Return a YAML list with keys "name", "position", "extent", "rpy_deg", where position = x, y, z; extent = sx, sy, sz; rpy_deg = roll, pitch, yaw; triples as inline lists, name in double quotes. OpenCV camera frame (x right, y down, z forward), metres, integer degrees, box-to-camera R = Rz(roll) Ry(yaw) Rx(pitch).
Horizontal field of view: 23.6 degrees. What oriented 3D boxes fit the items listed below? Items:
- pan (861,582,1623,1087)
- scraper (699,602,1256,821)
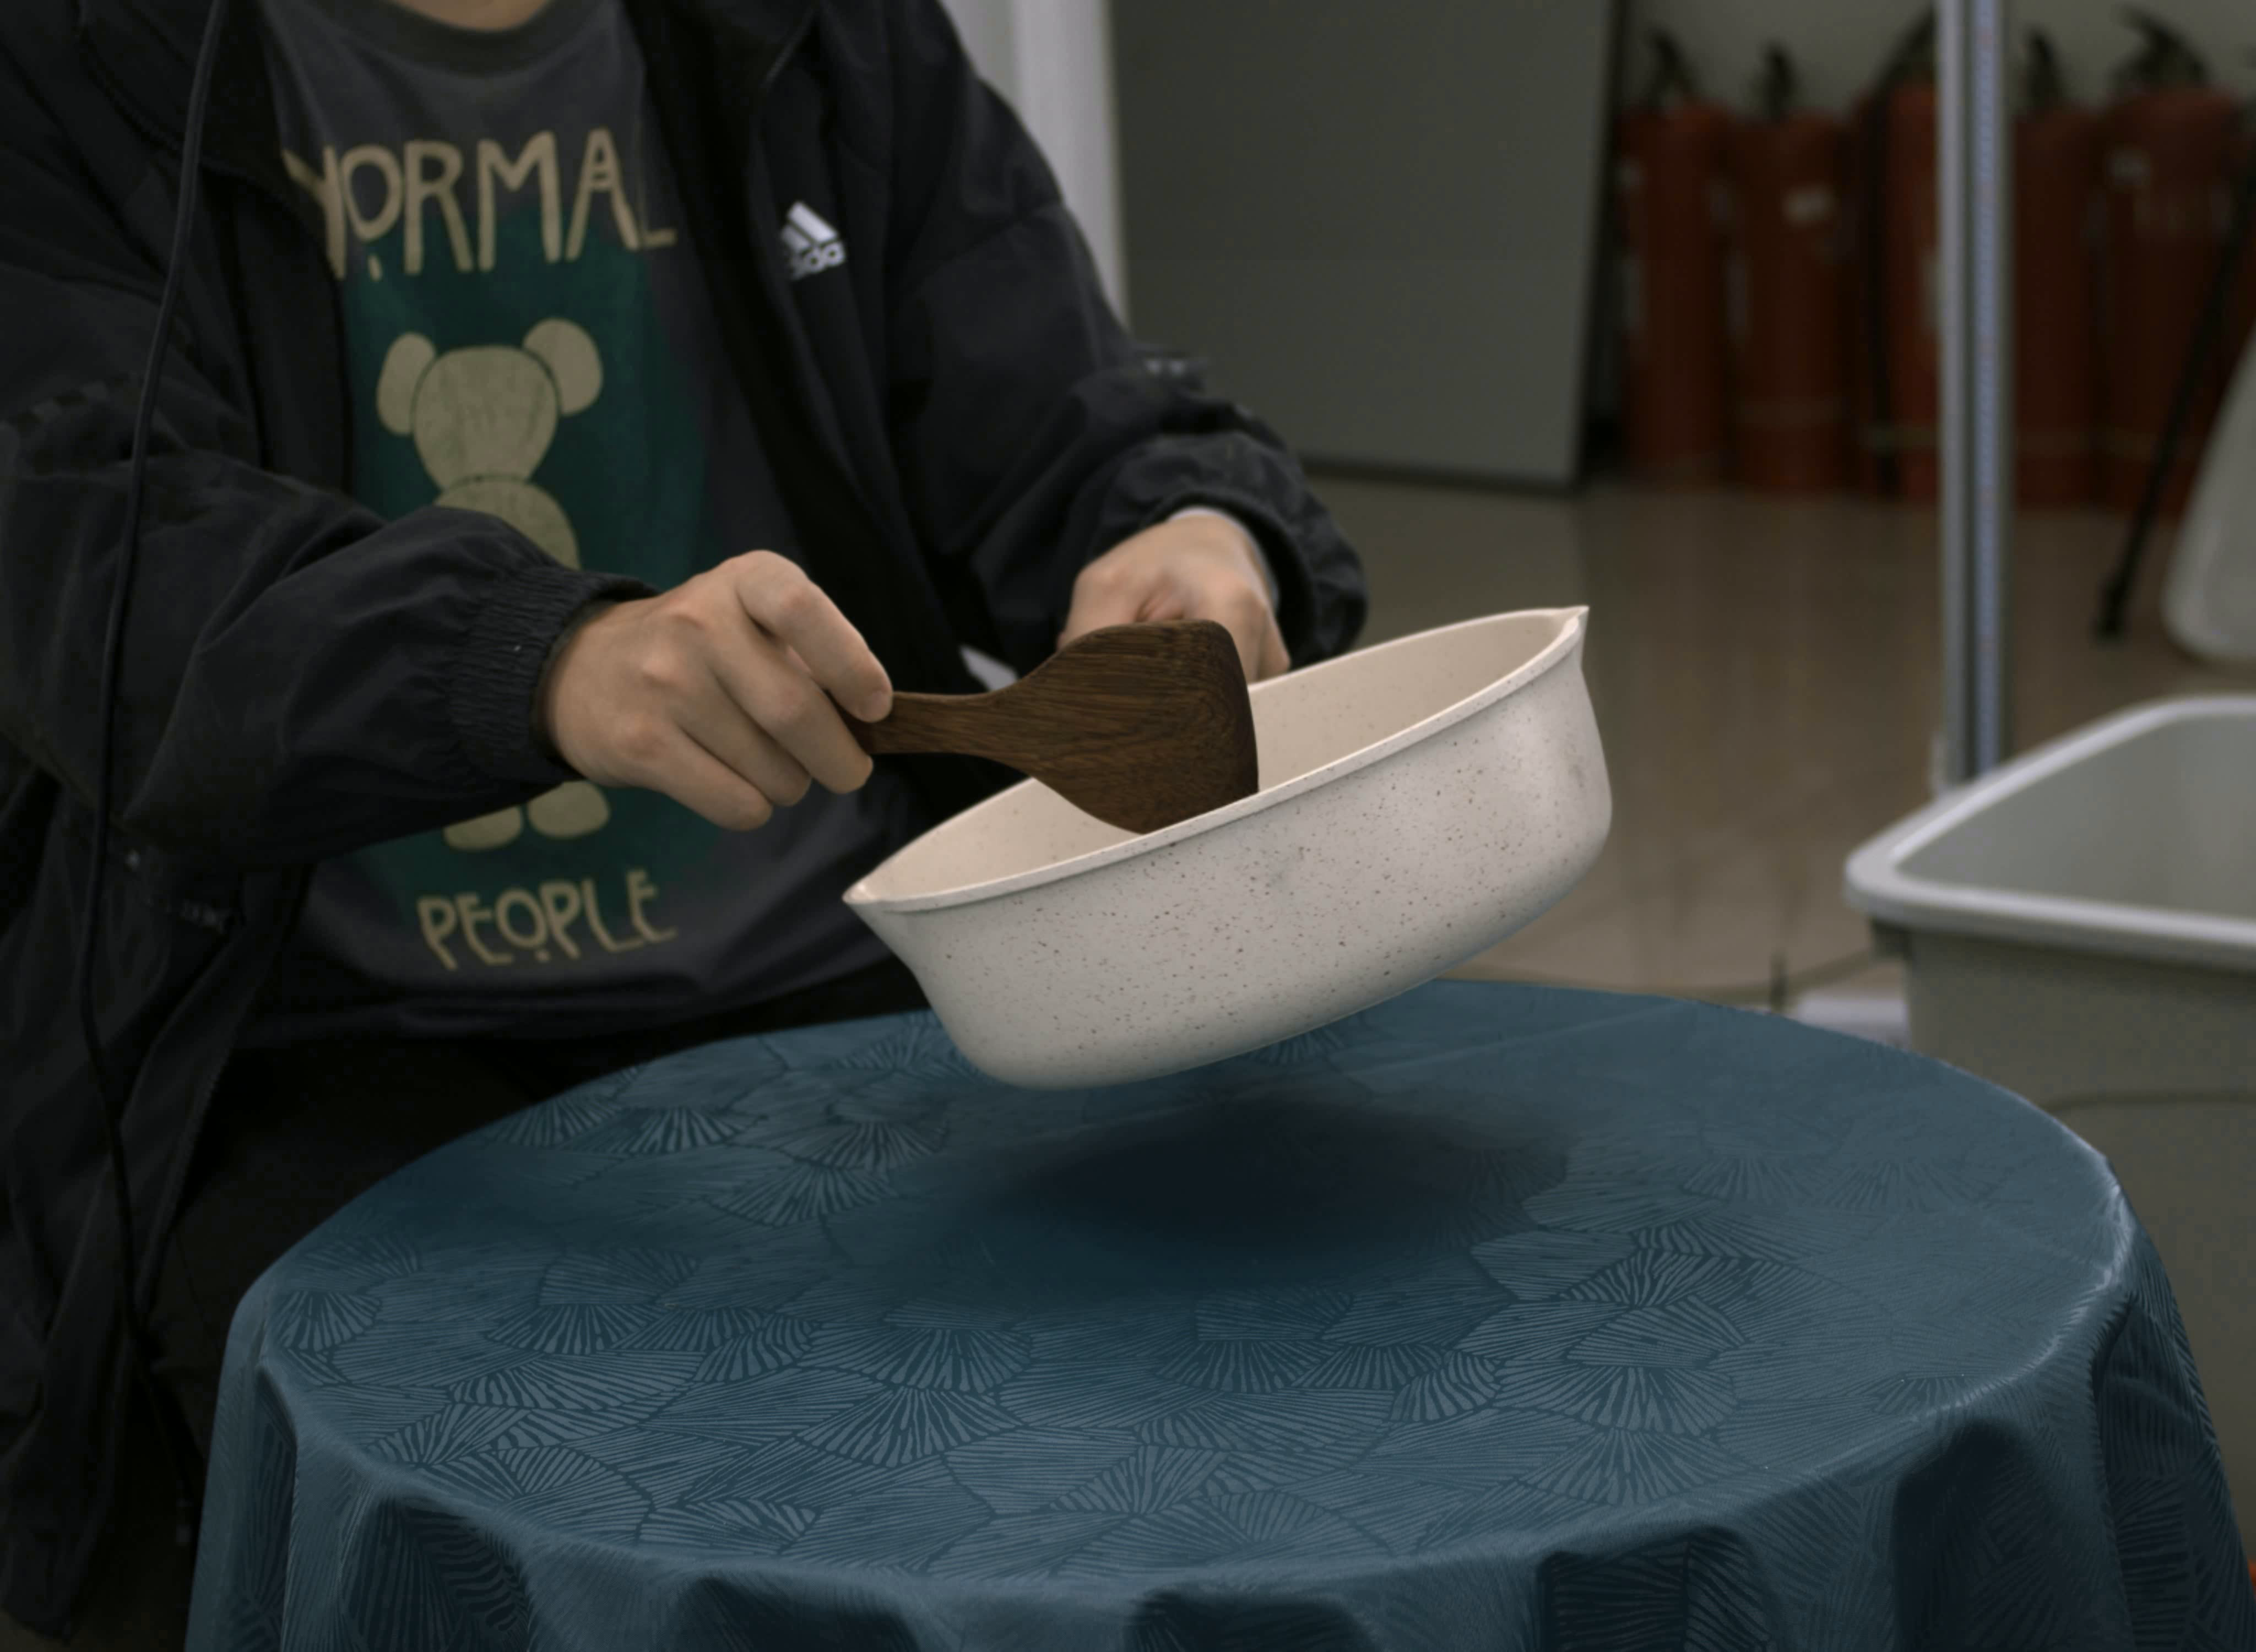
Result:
- name: "pan"
  position: [0.036, -0.007, 1.850]
  extent: [0.261, 0.103, 0.436]
  rpy_deg: [-23, 7, -2]
- name: "scraper"
  position: [-0.051, -0.034, 1.712]
  extent: [0.212, 0.076, 0.010]
  rpy_deg: [2, 21, 34]
